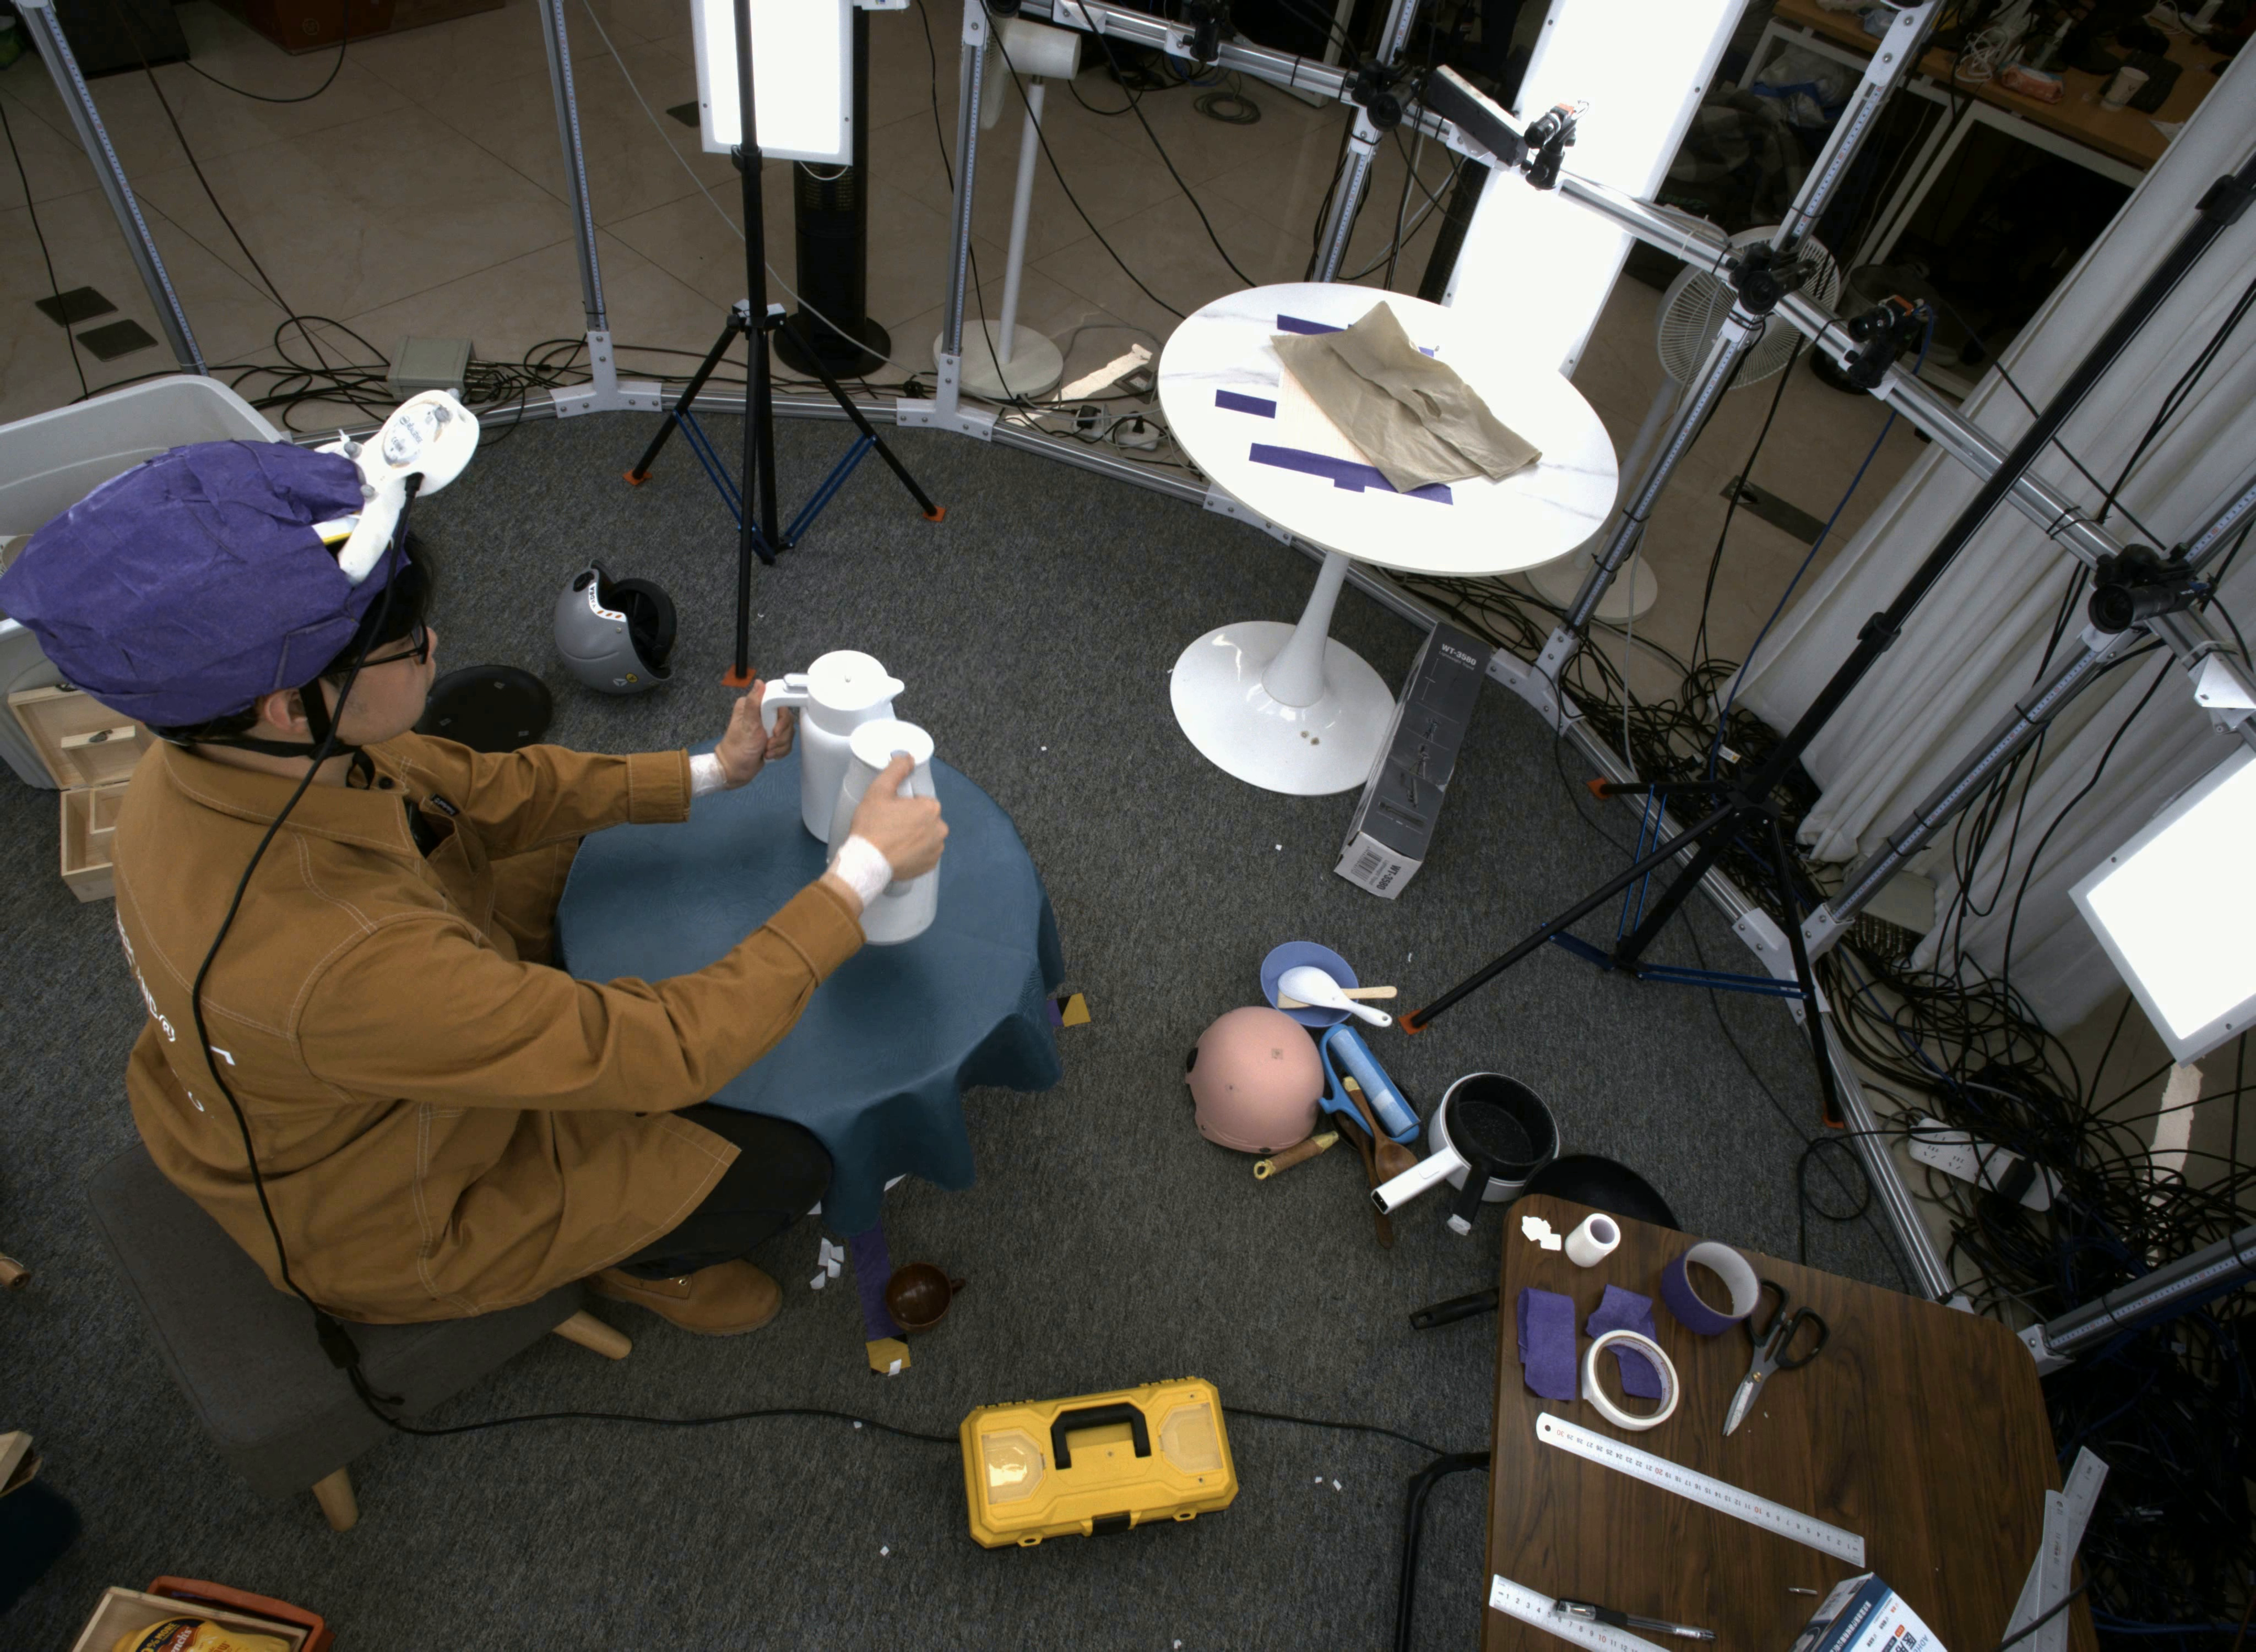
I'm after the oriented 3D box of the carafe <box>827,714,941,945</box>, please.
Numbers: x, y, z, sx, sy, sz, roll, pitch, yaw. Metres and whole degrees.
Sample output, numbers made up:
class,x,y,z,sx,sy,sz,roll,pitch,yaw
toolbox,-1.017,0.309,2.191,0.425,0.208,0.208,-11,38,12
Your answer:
class,x,y,z,sx,sy,sz,roll,pitch,yaw
carafe,-0.268,0.010,1.460,0.133,0.255,0.162,-6,42,-21

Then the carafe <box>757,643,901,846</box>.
class,x,y,z,sx,sy,sz,roll,pitch,yaw
carafe,-0.375,-0.097,1.634,0.173,0.274,0.121,-2,54,-14
